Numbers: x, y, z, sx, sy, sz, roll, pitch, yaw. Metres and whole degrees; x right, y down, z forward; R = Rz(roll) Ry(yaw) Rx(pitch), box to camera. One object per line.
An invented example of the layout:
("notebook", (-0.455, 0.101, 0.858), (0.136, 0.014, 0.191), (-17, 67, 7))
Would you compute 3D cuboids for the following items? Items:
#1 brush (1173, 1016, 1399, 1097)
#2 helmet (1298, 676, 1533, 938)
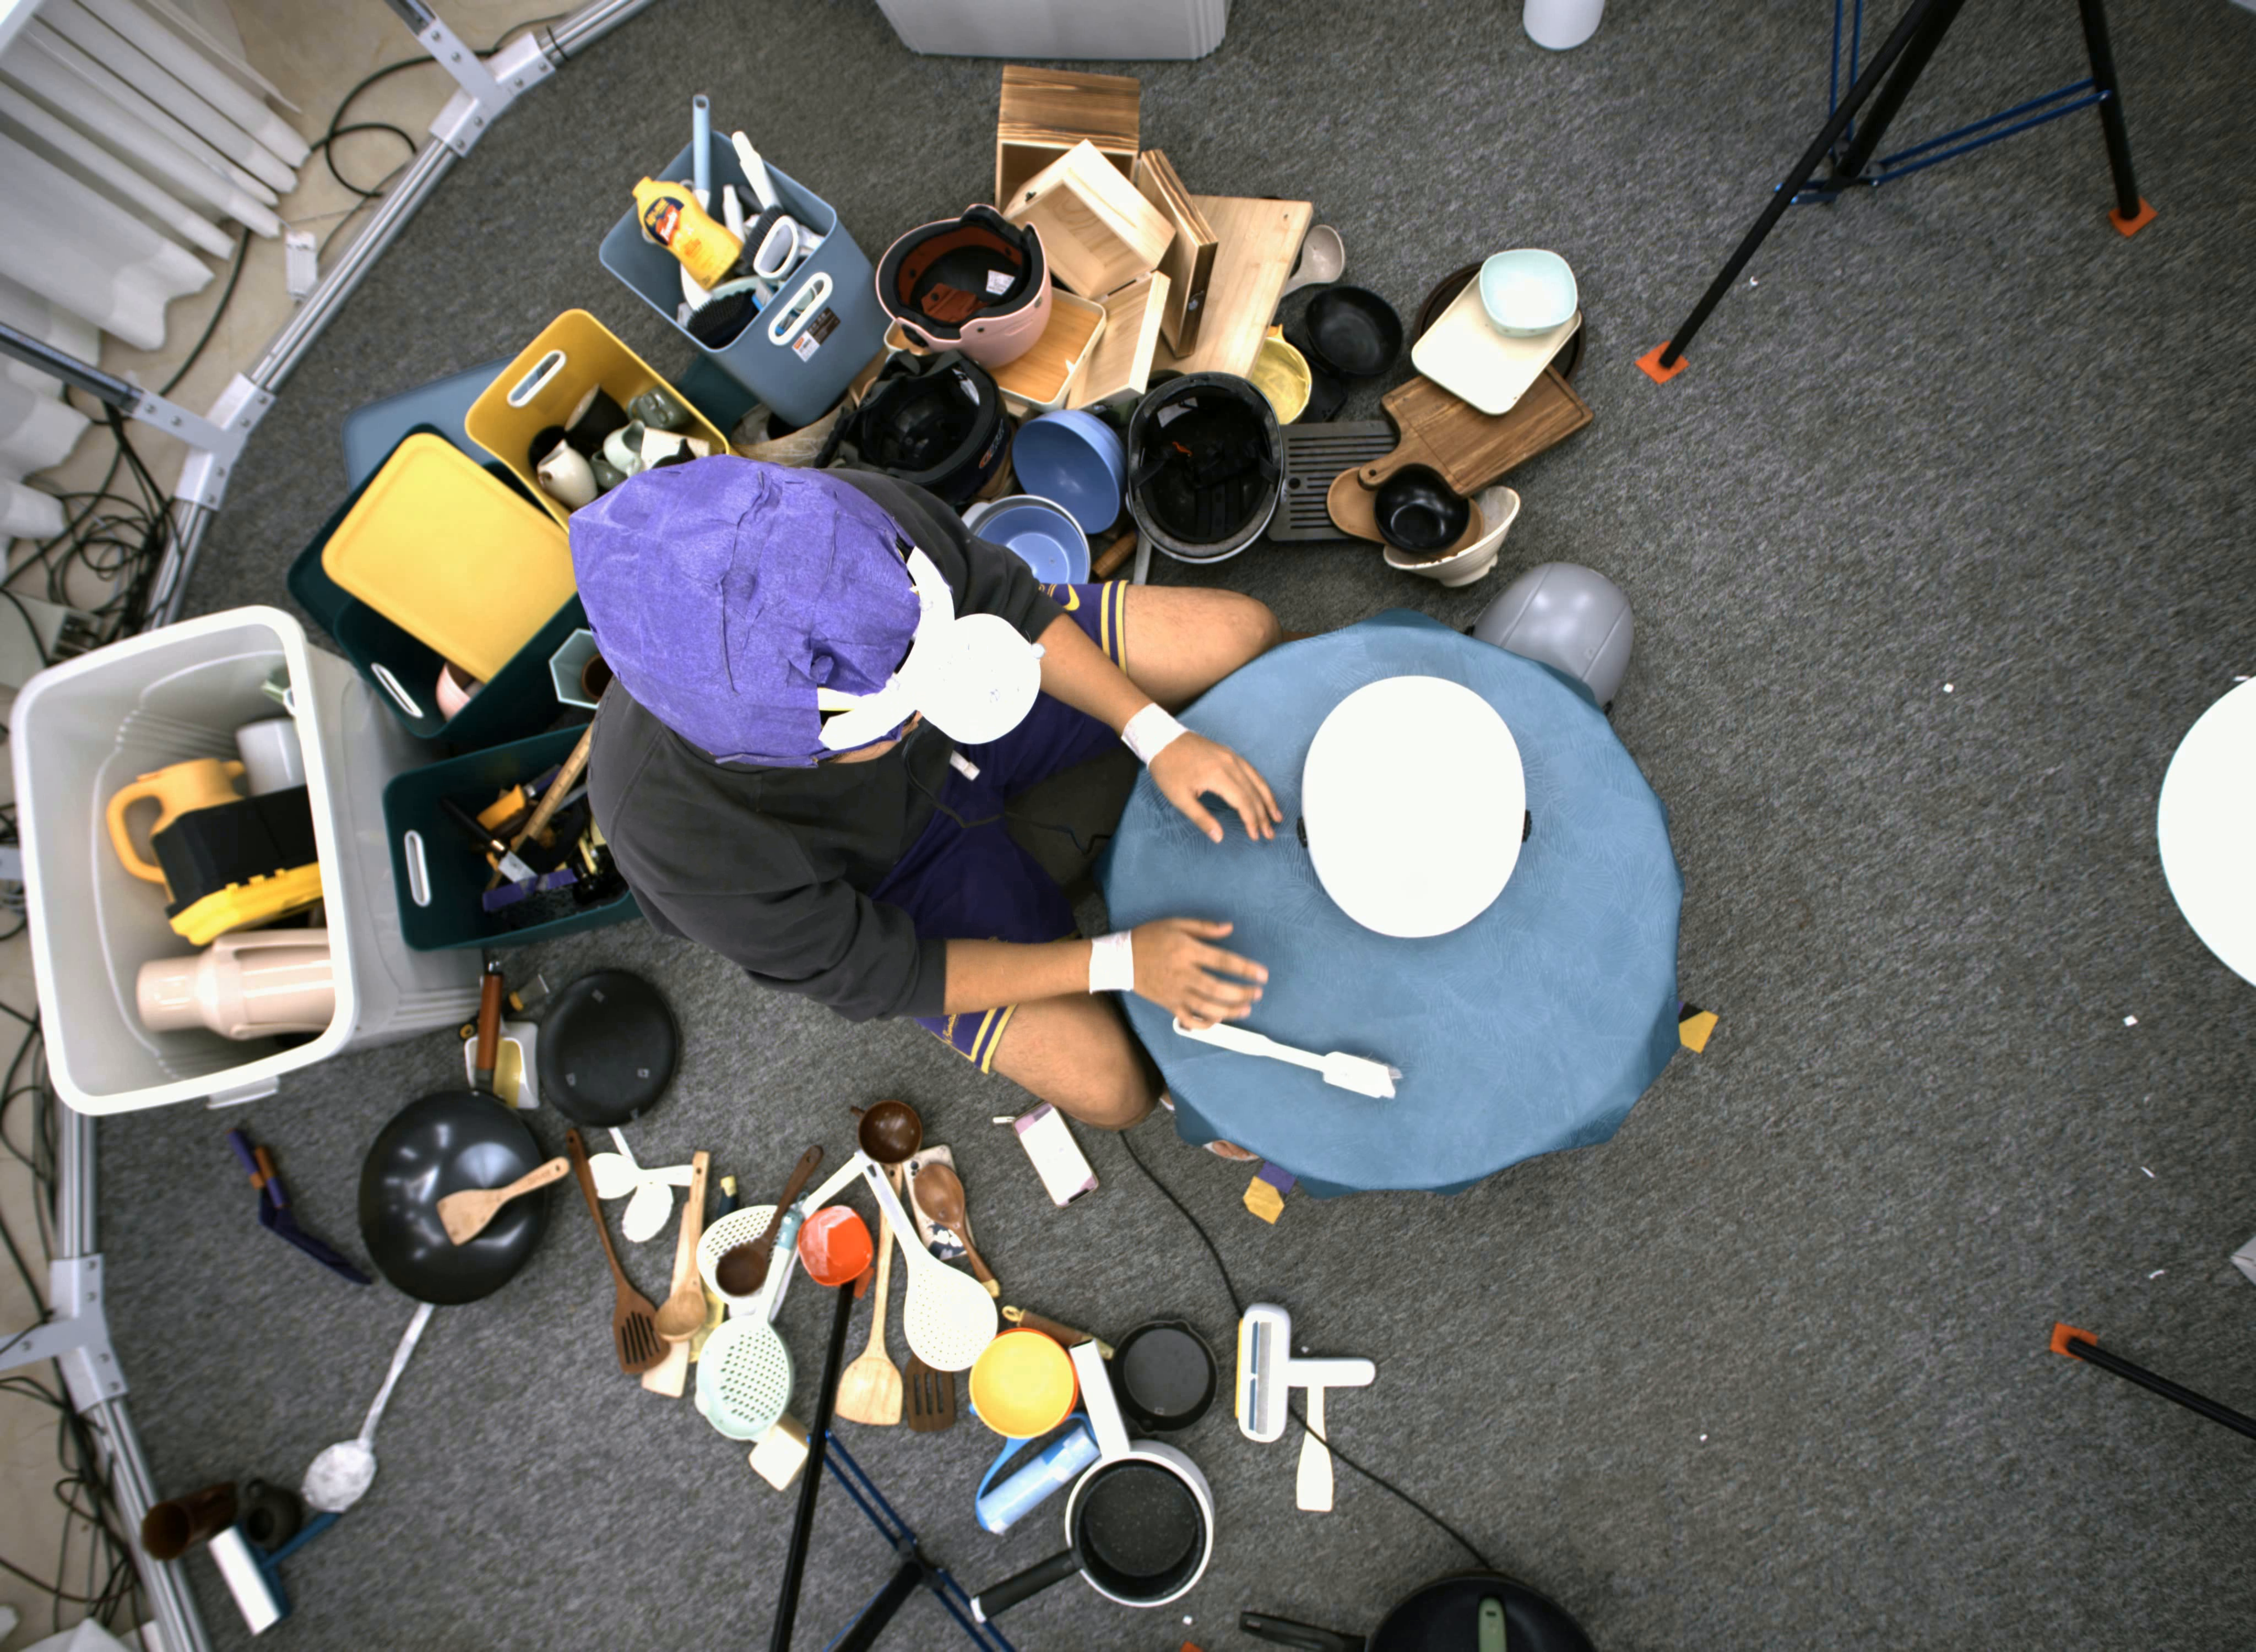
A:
("brush", (0.164, 0.238, 1.458), (0.244, 0.050, 0.034), (12, 87, 24))
("helmet", (0.288, -0.025, 1.379), (0.238, 0.167, 0.267), (0, 87, 10))
